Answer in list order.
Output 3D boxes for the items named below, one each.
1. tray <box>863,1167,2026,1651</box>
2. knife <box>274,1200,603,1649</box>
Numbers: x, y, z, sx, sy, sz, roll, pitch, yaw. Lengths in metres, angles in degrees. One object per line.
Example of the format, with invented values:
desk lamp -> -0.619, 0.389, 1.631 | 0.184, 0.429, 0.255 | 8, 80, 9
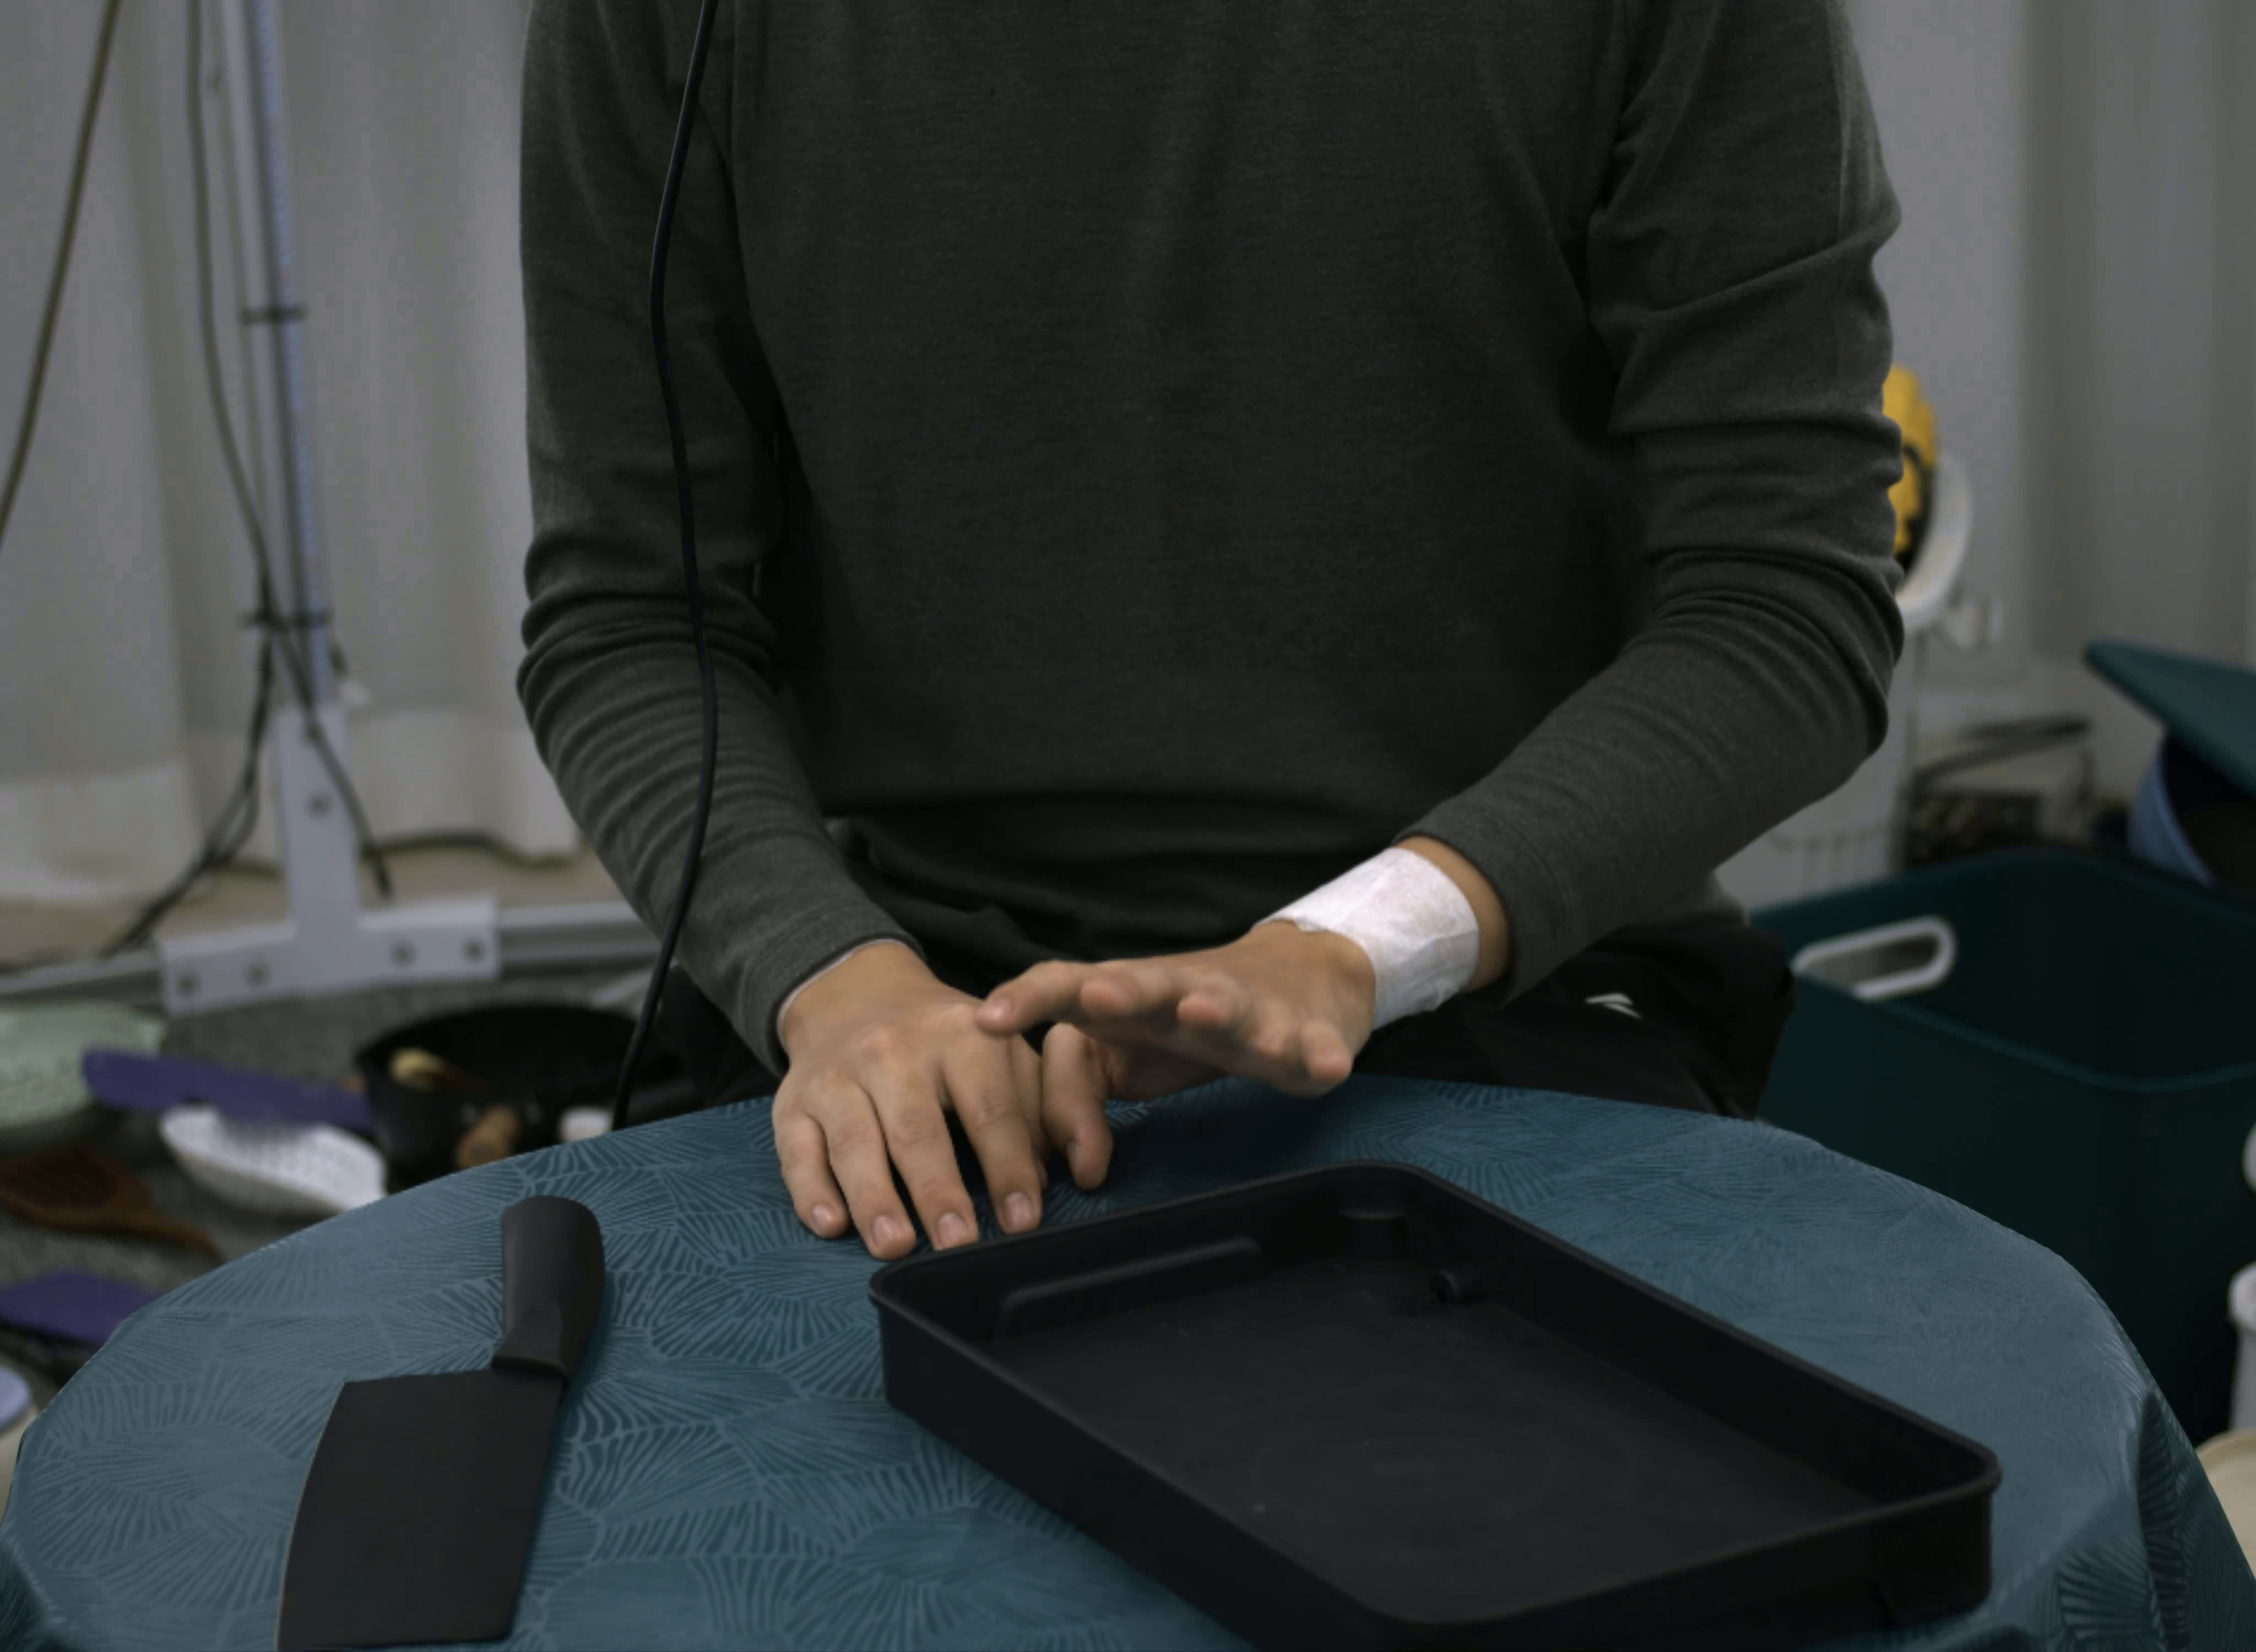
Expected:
tray -> 0.076, 0.161, 1.459 | 0.183, 0.037, 0.320 | -11, 16, -28
knife -> -0.188, 0.166, 1.535 | 0.081, 0.021, 0.304 | -3, 16, 5
